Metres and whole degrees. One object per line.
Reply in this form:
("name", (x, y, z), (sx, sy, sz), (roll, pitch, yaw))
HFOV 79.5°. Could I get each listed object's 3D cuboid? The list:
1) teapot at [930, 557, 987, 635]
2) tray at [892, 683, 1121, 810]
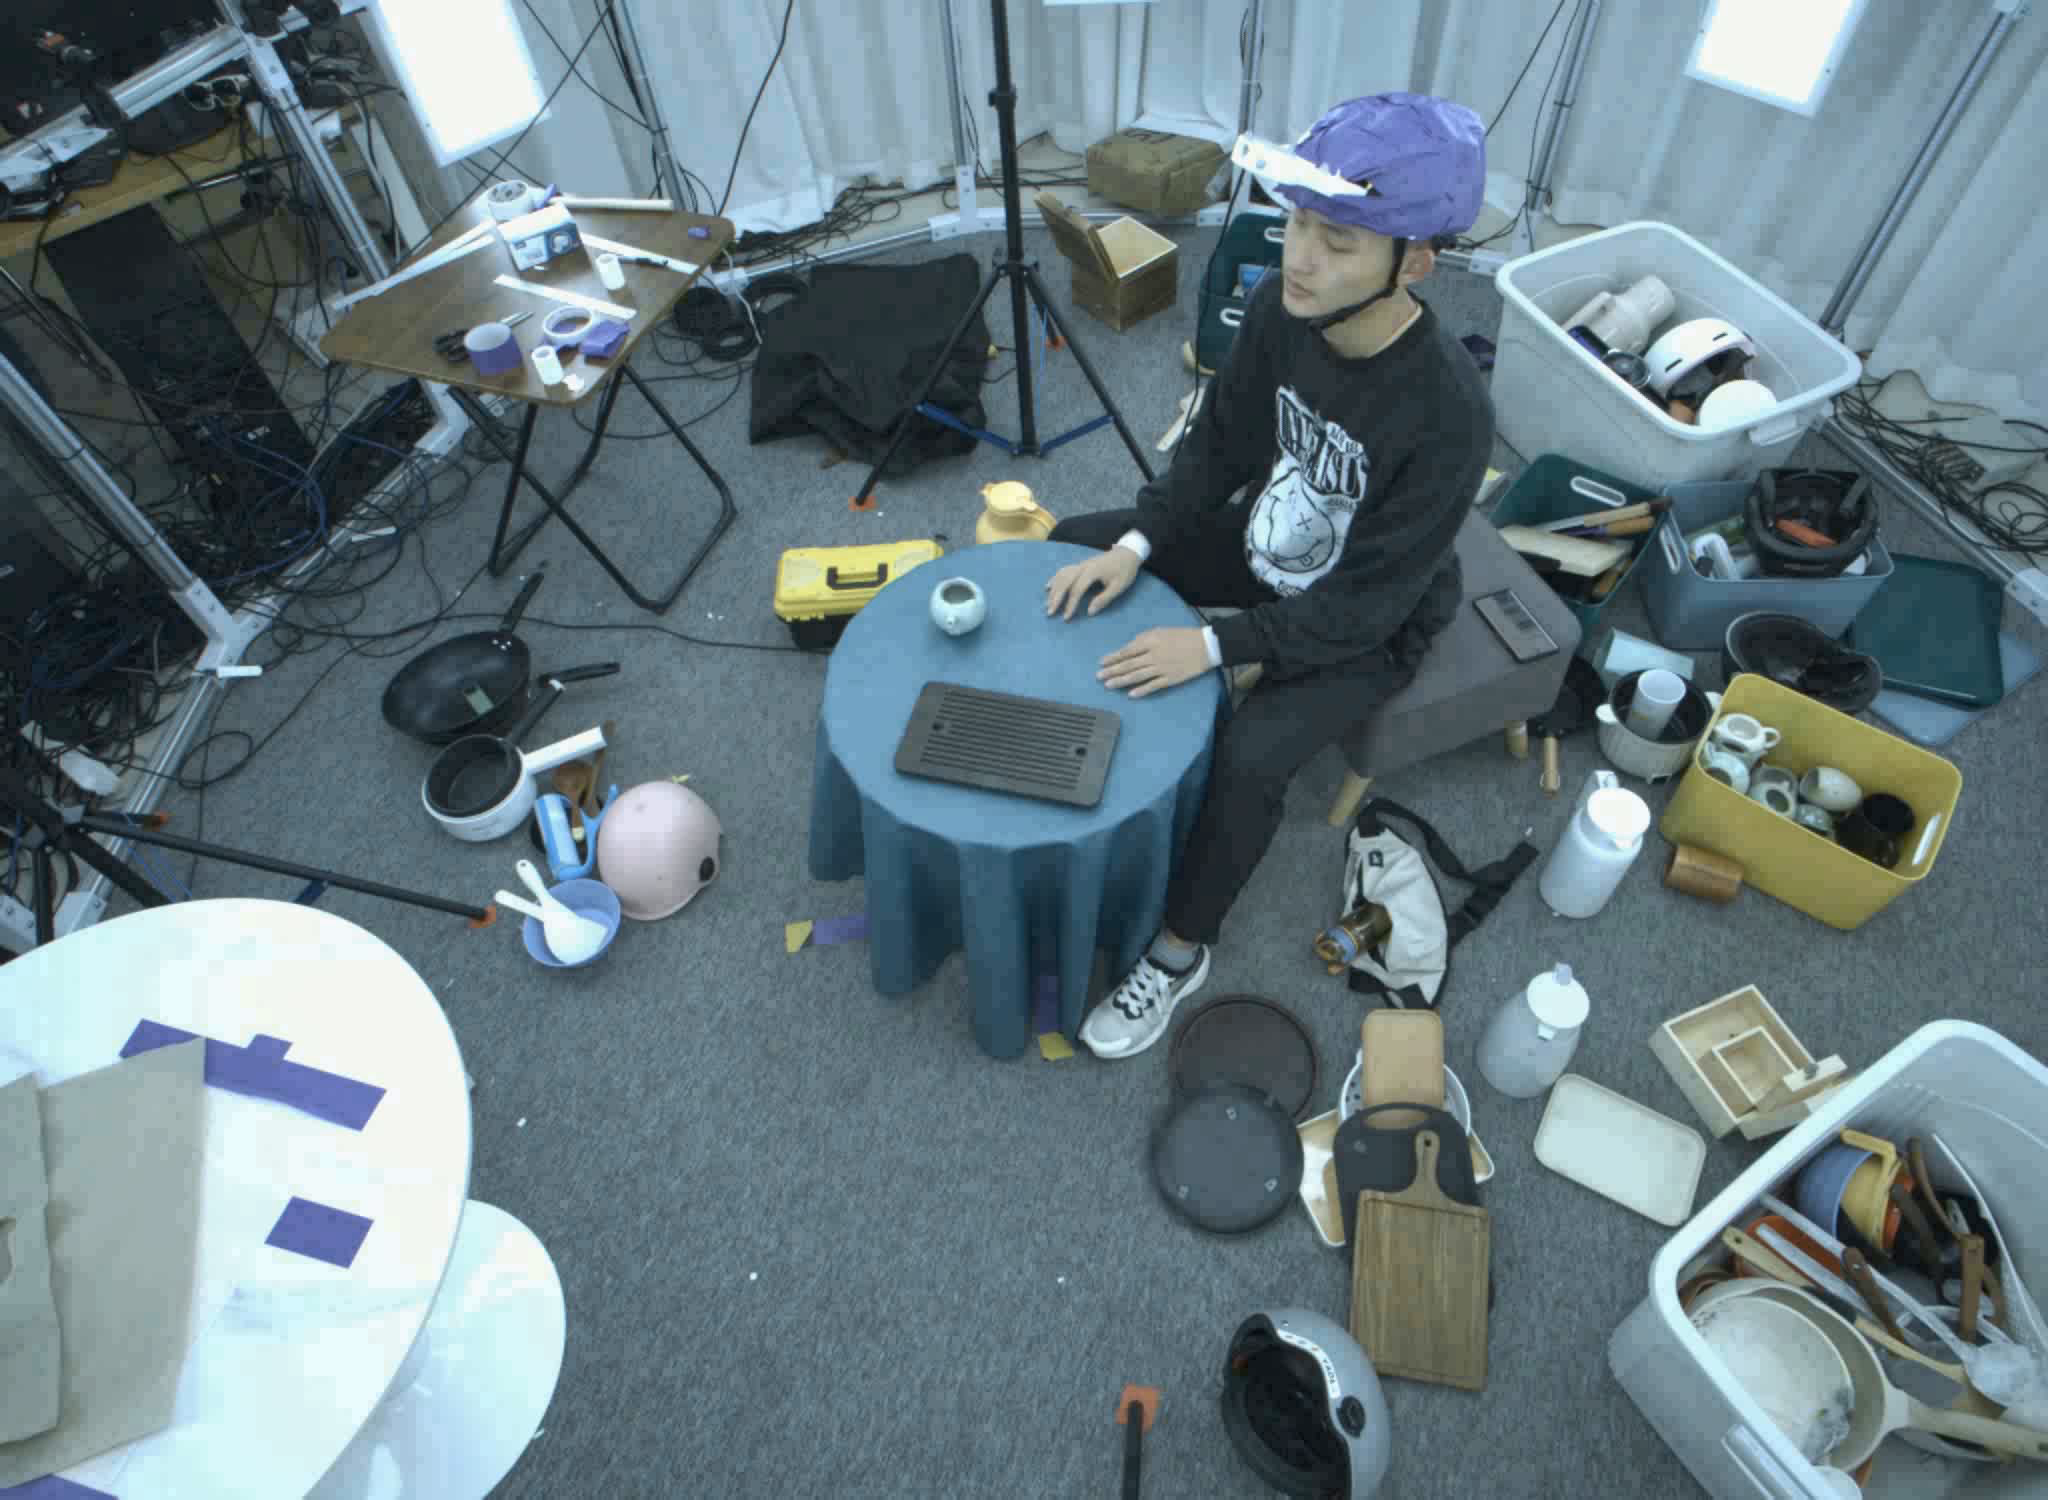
("teapot", (-0.103, -0.225, 1.902), (0.088, 0.075, 0.143), (4, 56, 6))
("tray", (-0.023, -0.006, 1.777), (0.304, 0.019, 0.169), (11, 55, 9))
